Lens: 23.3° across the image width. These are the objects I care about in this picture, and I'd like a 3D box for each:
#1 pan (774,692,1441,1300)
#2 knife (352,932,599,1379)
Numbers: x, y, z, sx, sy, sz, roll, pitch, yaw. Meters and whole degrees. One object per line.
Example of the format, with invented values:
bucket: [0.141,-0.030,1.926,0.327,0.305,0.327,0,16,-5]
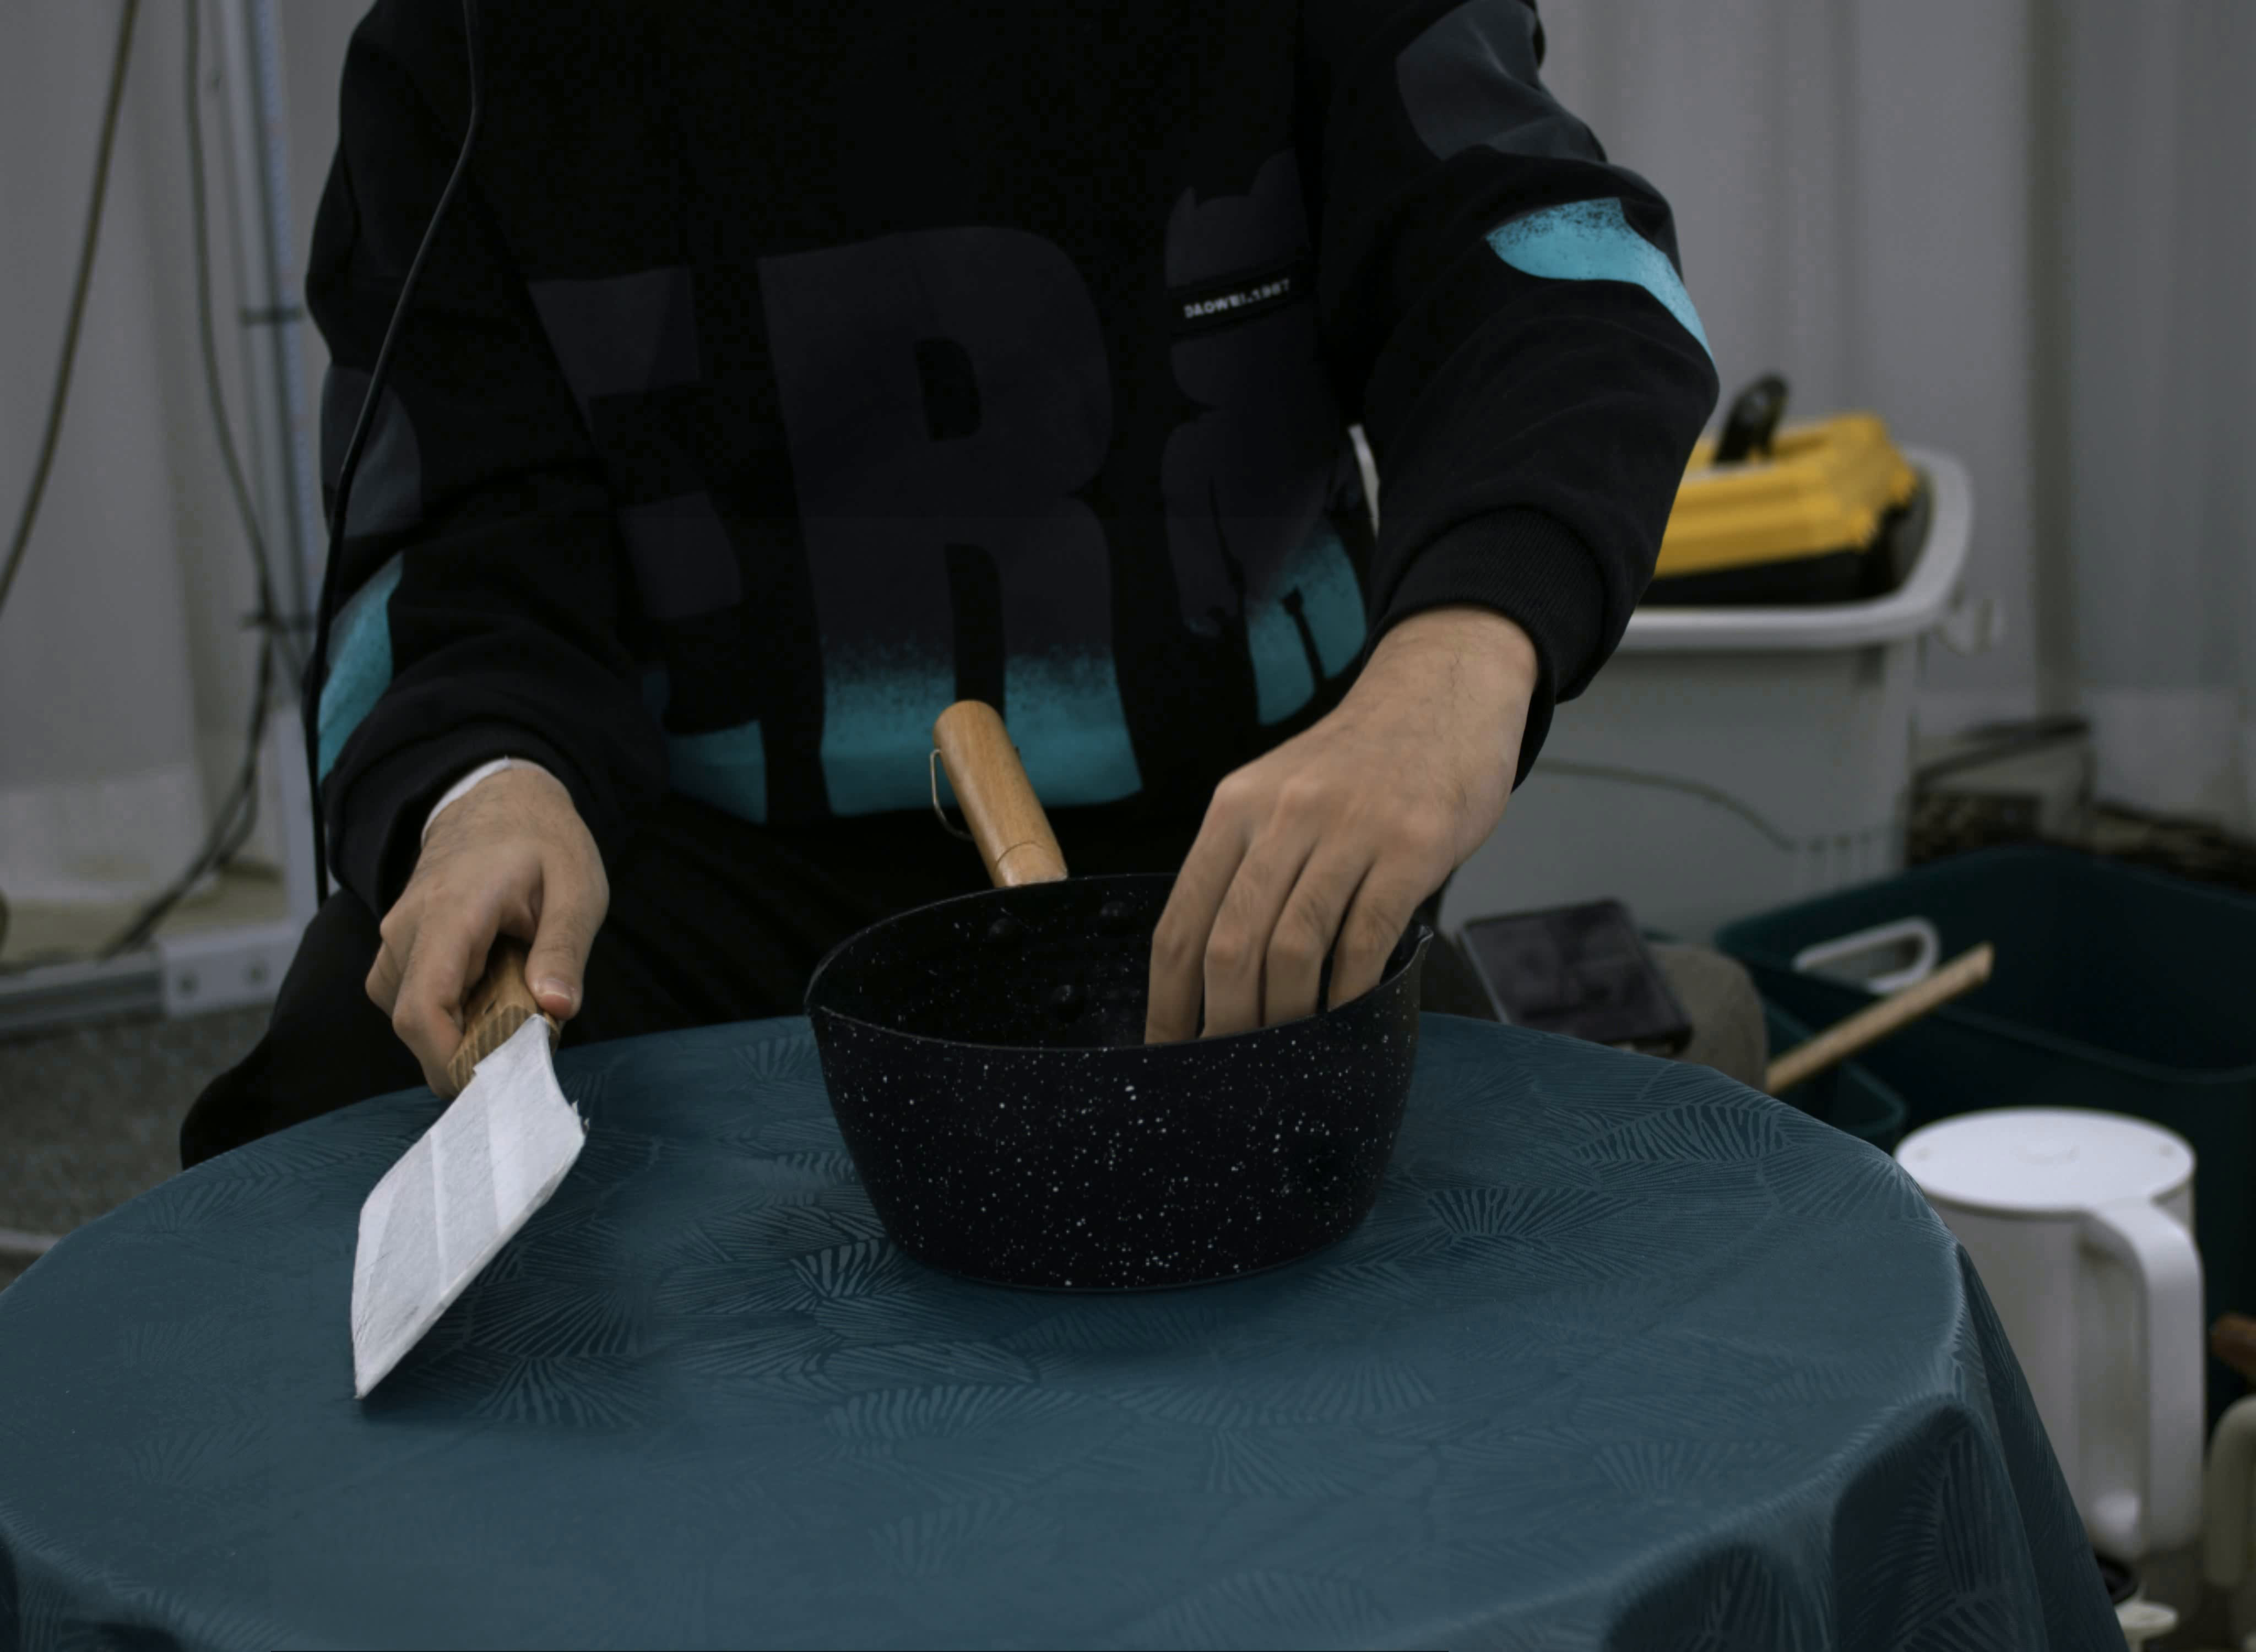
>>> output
pan: [-0.021,0.049,1.754,0.206,0.108,0.346,-7,17,-12]
knife: [-0.203,0.090,1.702,0.114,0.021,0.318,-46,14,7]
